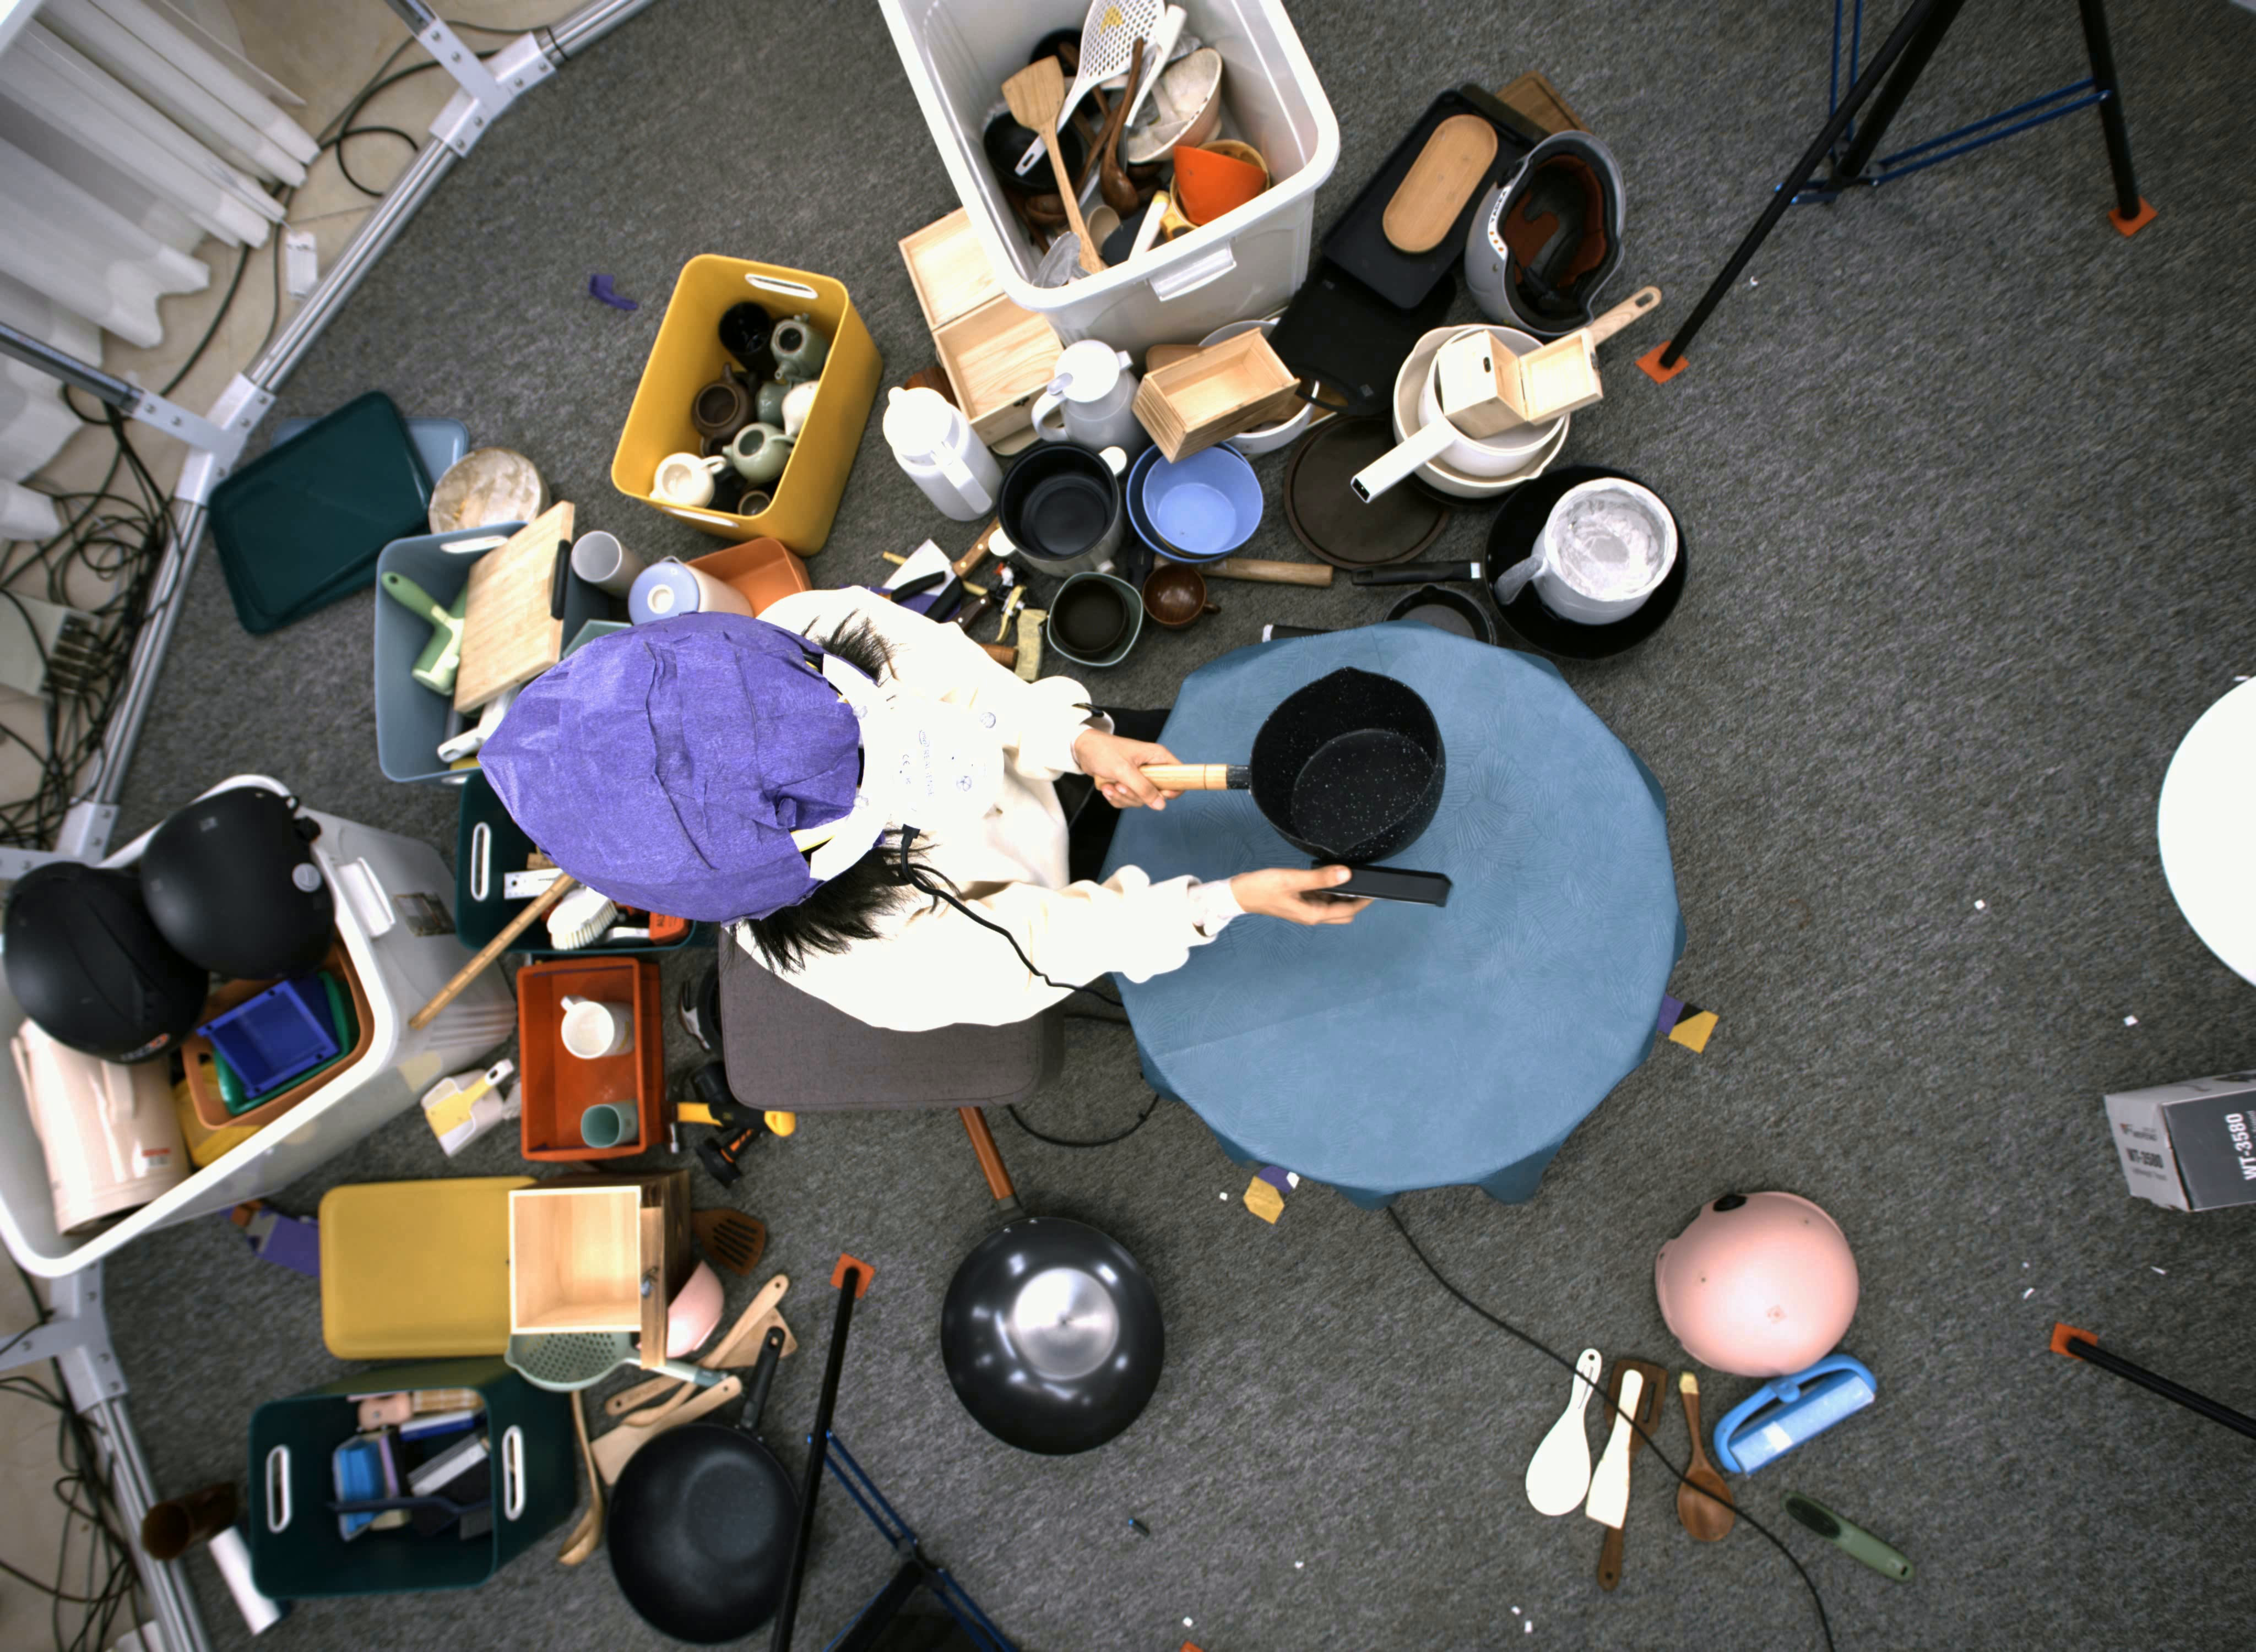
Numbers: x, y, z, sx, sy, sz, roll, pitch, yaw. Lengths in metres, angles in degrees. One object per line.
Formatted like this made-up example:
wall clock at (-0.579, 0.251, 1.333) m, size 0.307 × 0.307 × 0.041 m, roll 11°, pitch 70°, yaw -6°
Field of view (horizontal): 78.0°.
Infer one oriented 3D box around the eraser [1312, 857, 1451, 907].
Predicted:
eraser at (0.238, 0.051, 1.288) m, size 0.126 × 0.053 × 0.030 m, roll 7°, pitch 86°, yaw 20°

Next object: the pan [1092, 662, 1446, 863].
pan at (0.138, -0.045, 1.341) m, size 0.345 × 0.109 × 0.203 m, roll -6°, pitch 64°, yaw 22°
